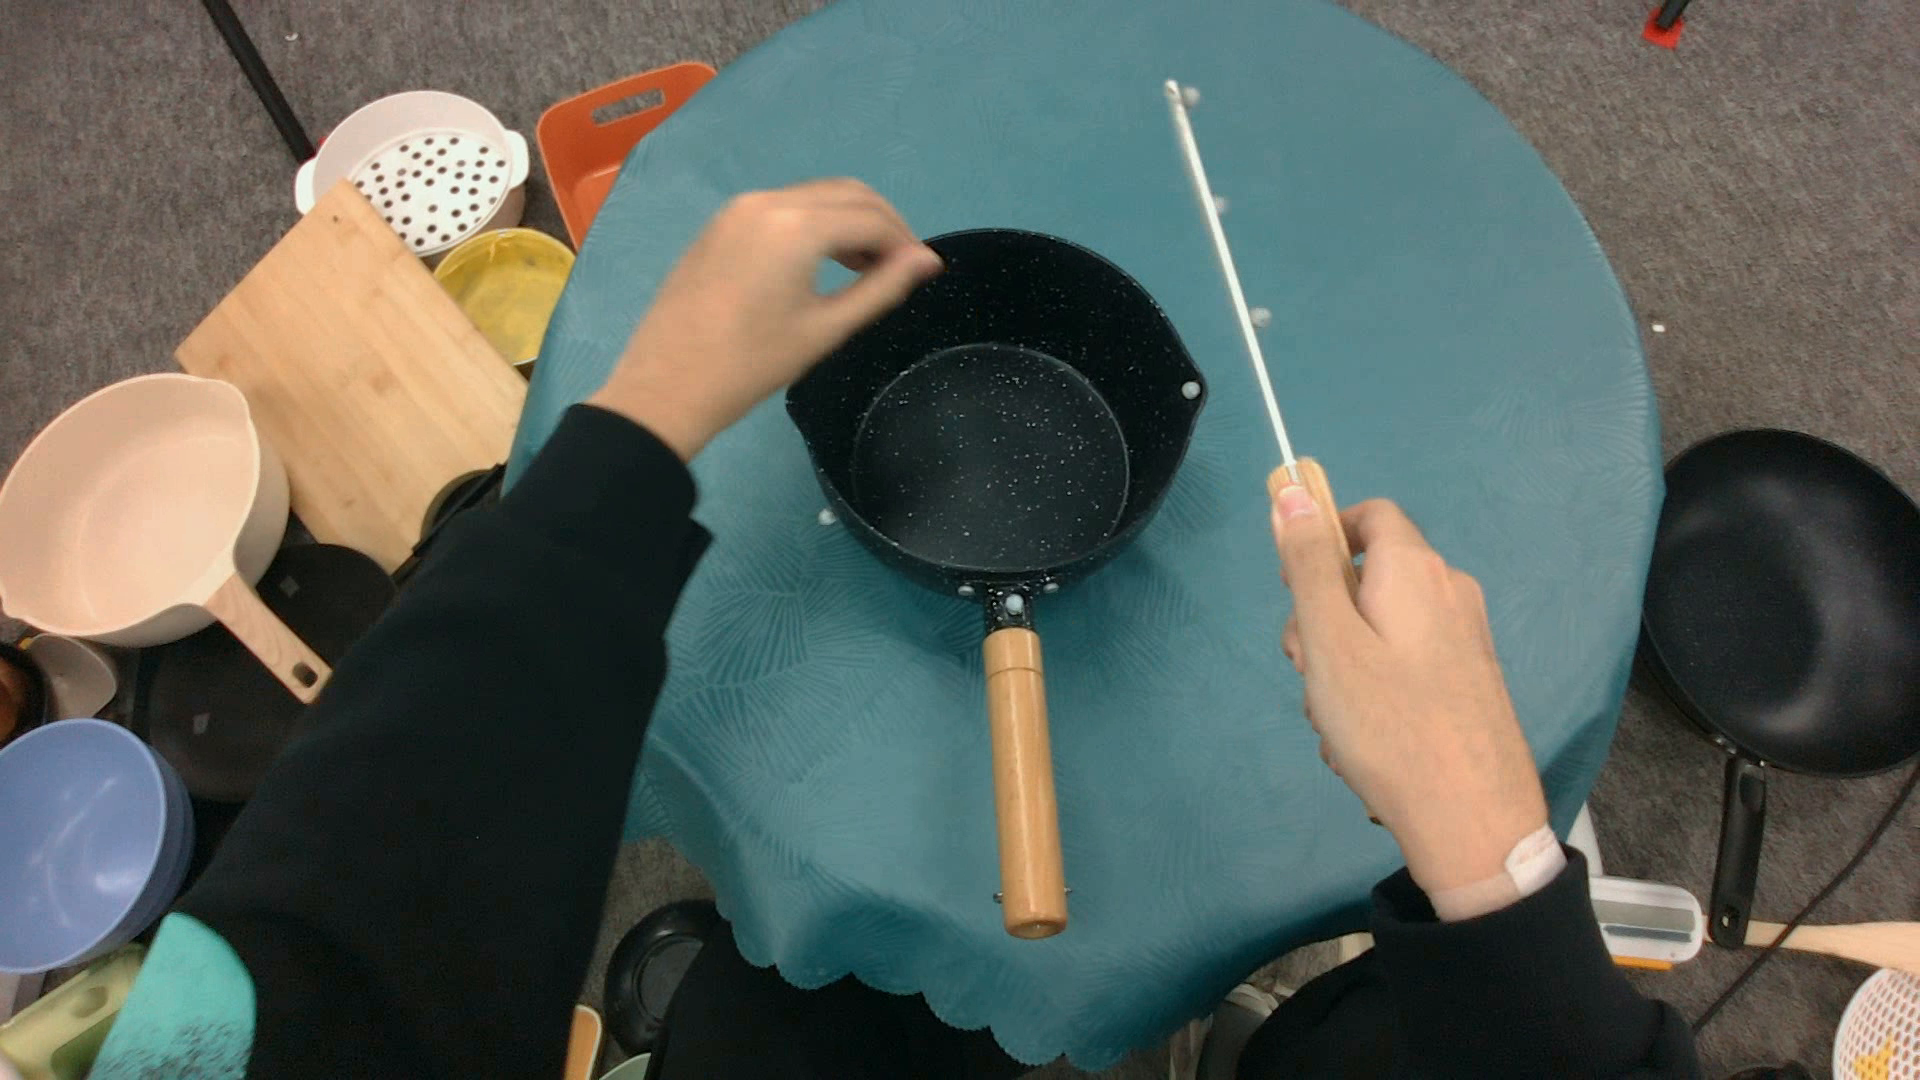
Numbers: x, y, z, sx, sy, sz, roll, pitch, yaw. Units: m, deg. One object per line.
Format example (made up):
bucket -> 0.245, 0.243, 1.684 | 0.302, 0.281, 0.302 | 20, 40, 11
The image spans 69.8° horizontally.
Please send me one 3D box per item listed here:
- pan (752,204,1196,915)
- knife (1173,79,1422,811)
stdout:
pan -> 0.014, 0.005, 0.643 | 0.207, 0.108, 0.344 | -5, 67, -5
knife -> 0.128, -0.048, 0.545 | 0.021, 0.114, 0.316 | -18, 64, 19
